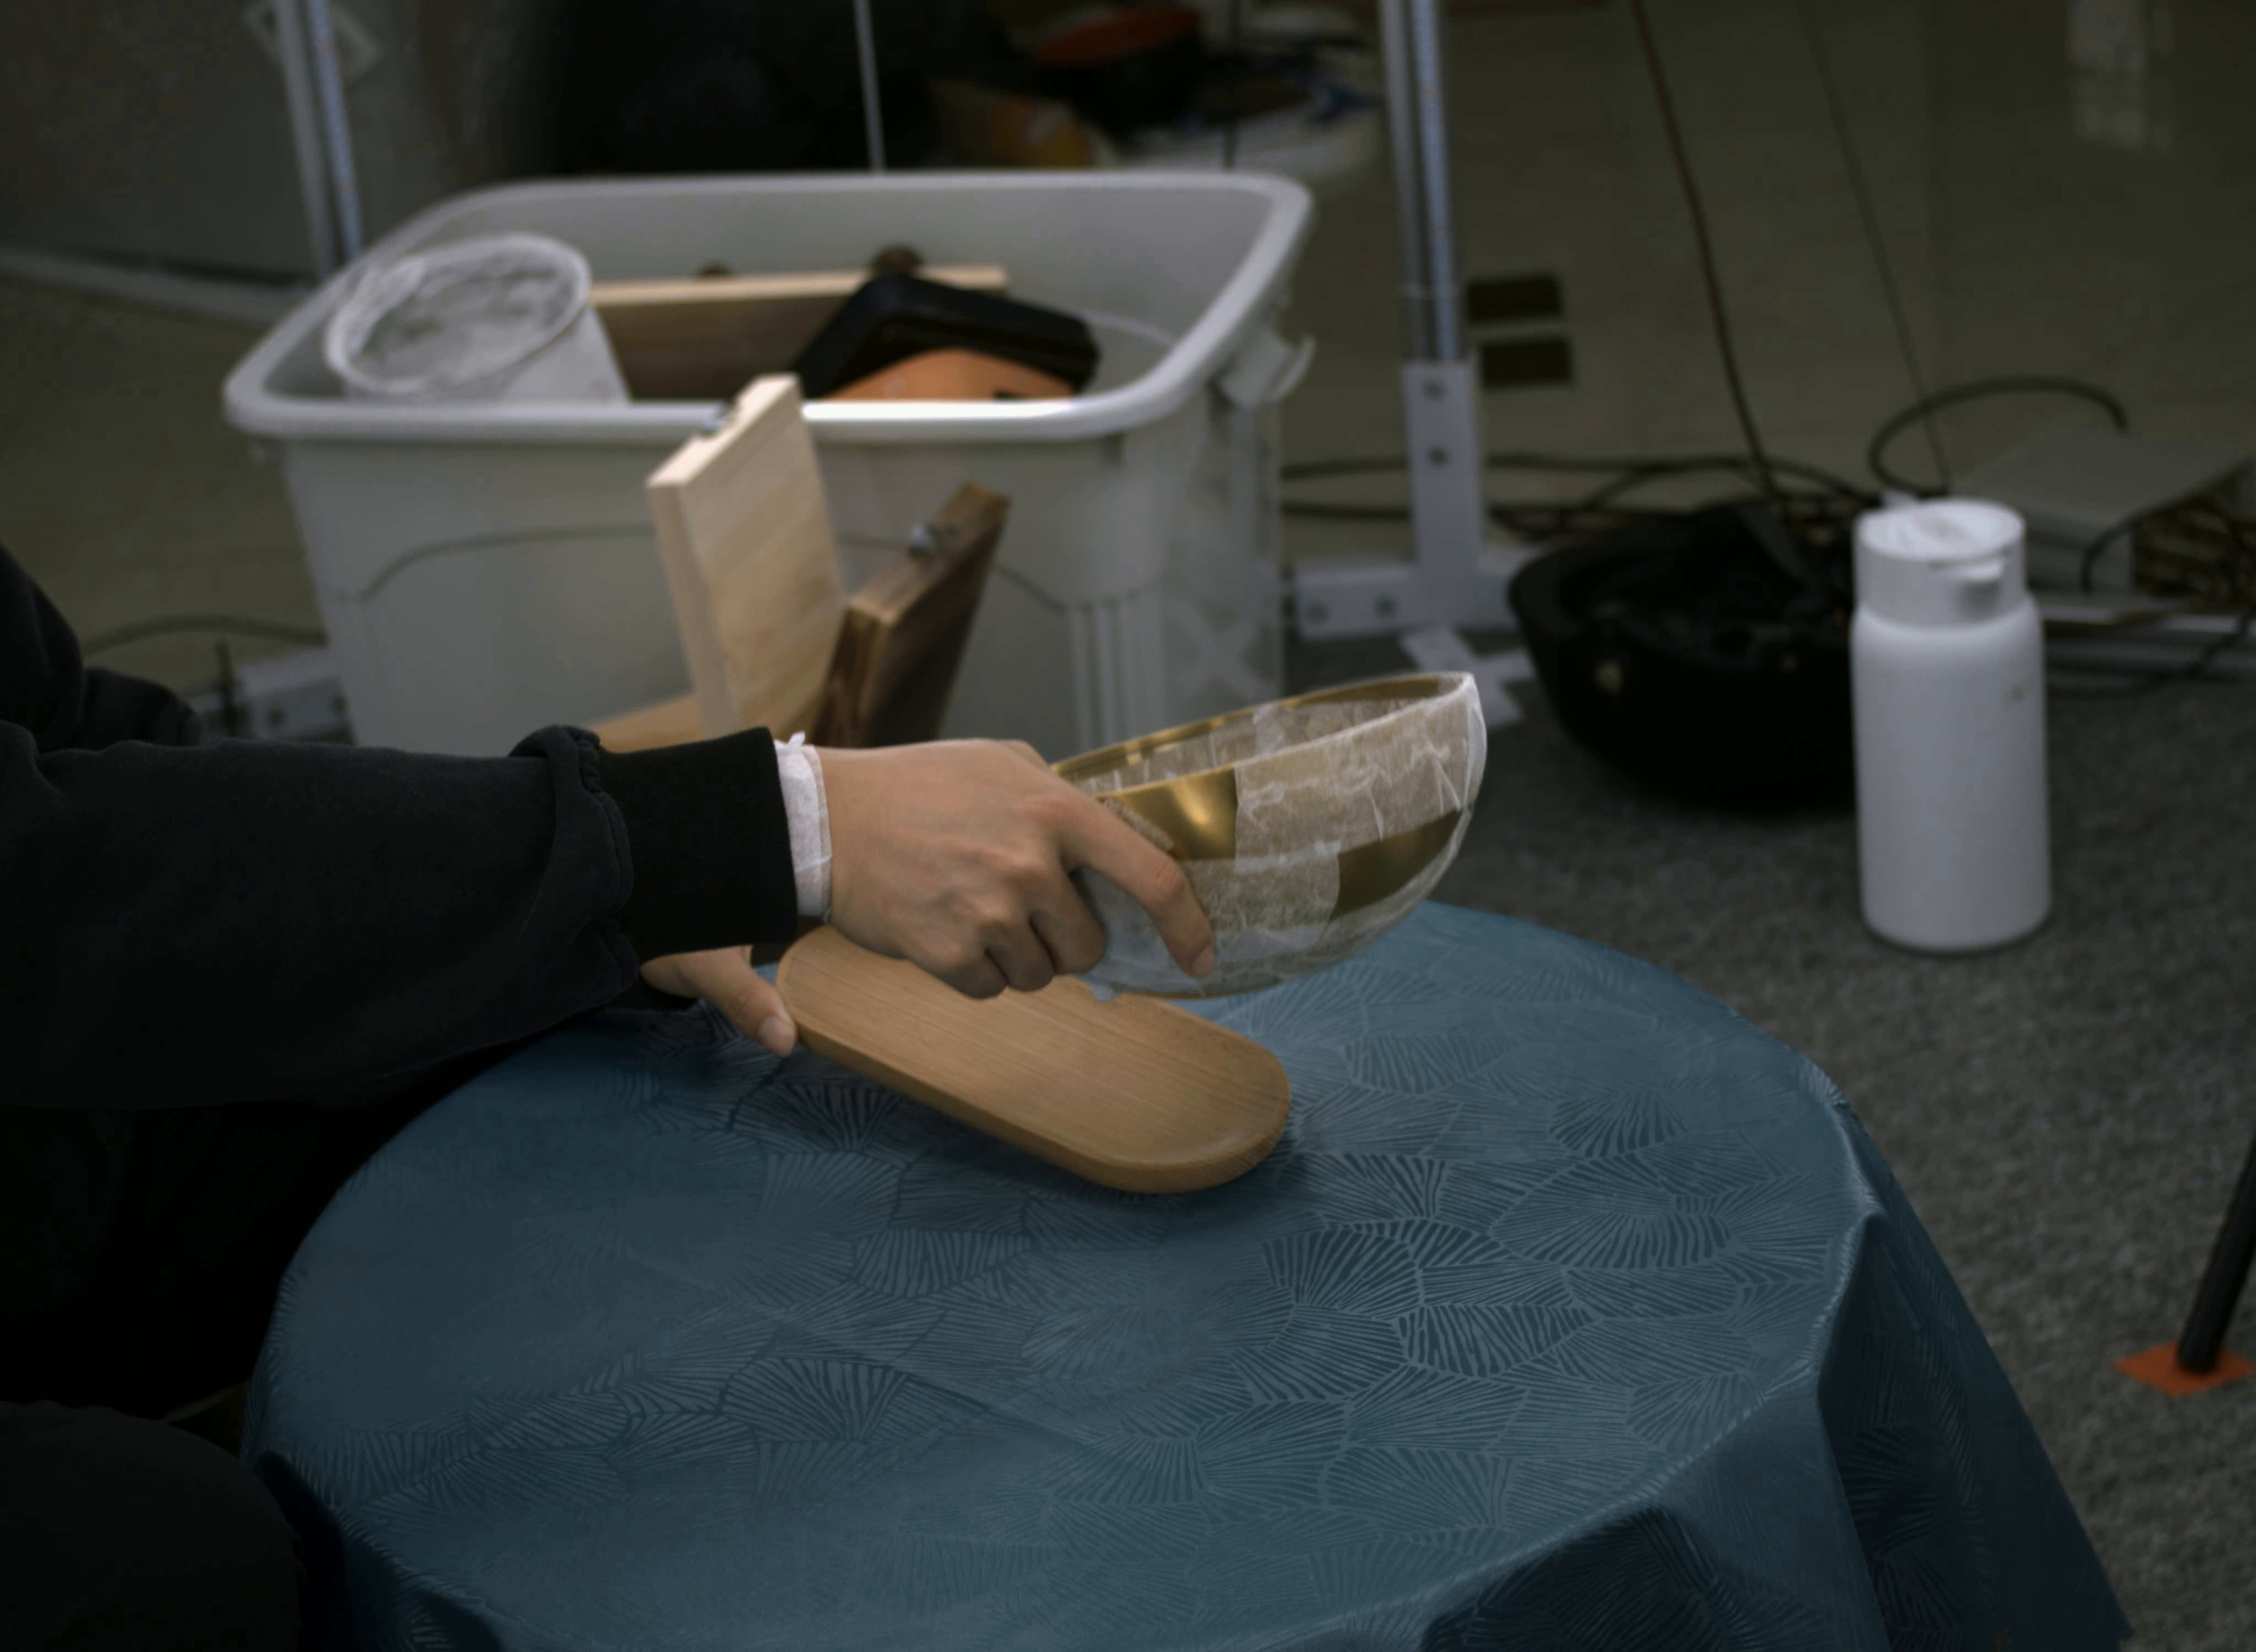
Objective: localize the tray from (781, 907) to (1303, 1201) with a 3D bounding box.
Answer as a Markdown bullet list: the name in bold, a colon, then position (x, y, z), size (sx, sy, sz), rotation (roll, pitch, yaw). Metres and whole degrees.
- **tray**: position (-0.035, 0.088, 2.212), size (0.229, 0.021, 0.100), rotation (24, 43, 29)

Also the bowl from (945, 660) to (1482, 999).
- **bowl**: position (0.038, 0.010, 2.094), size (0.214, 0.095, 0.213), rotation (-15, 7, 2)
